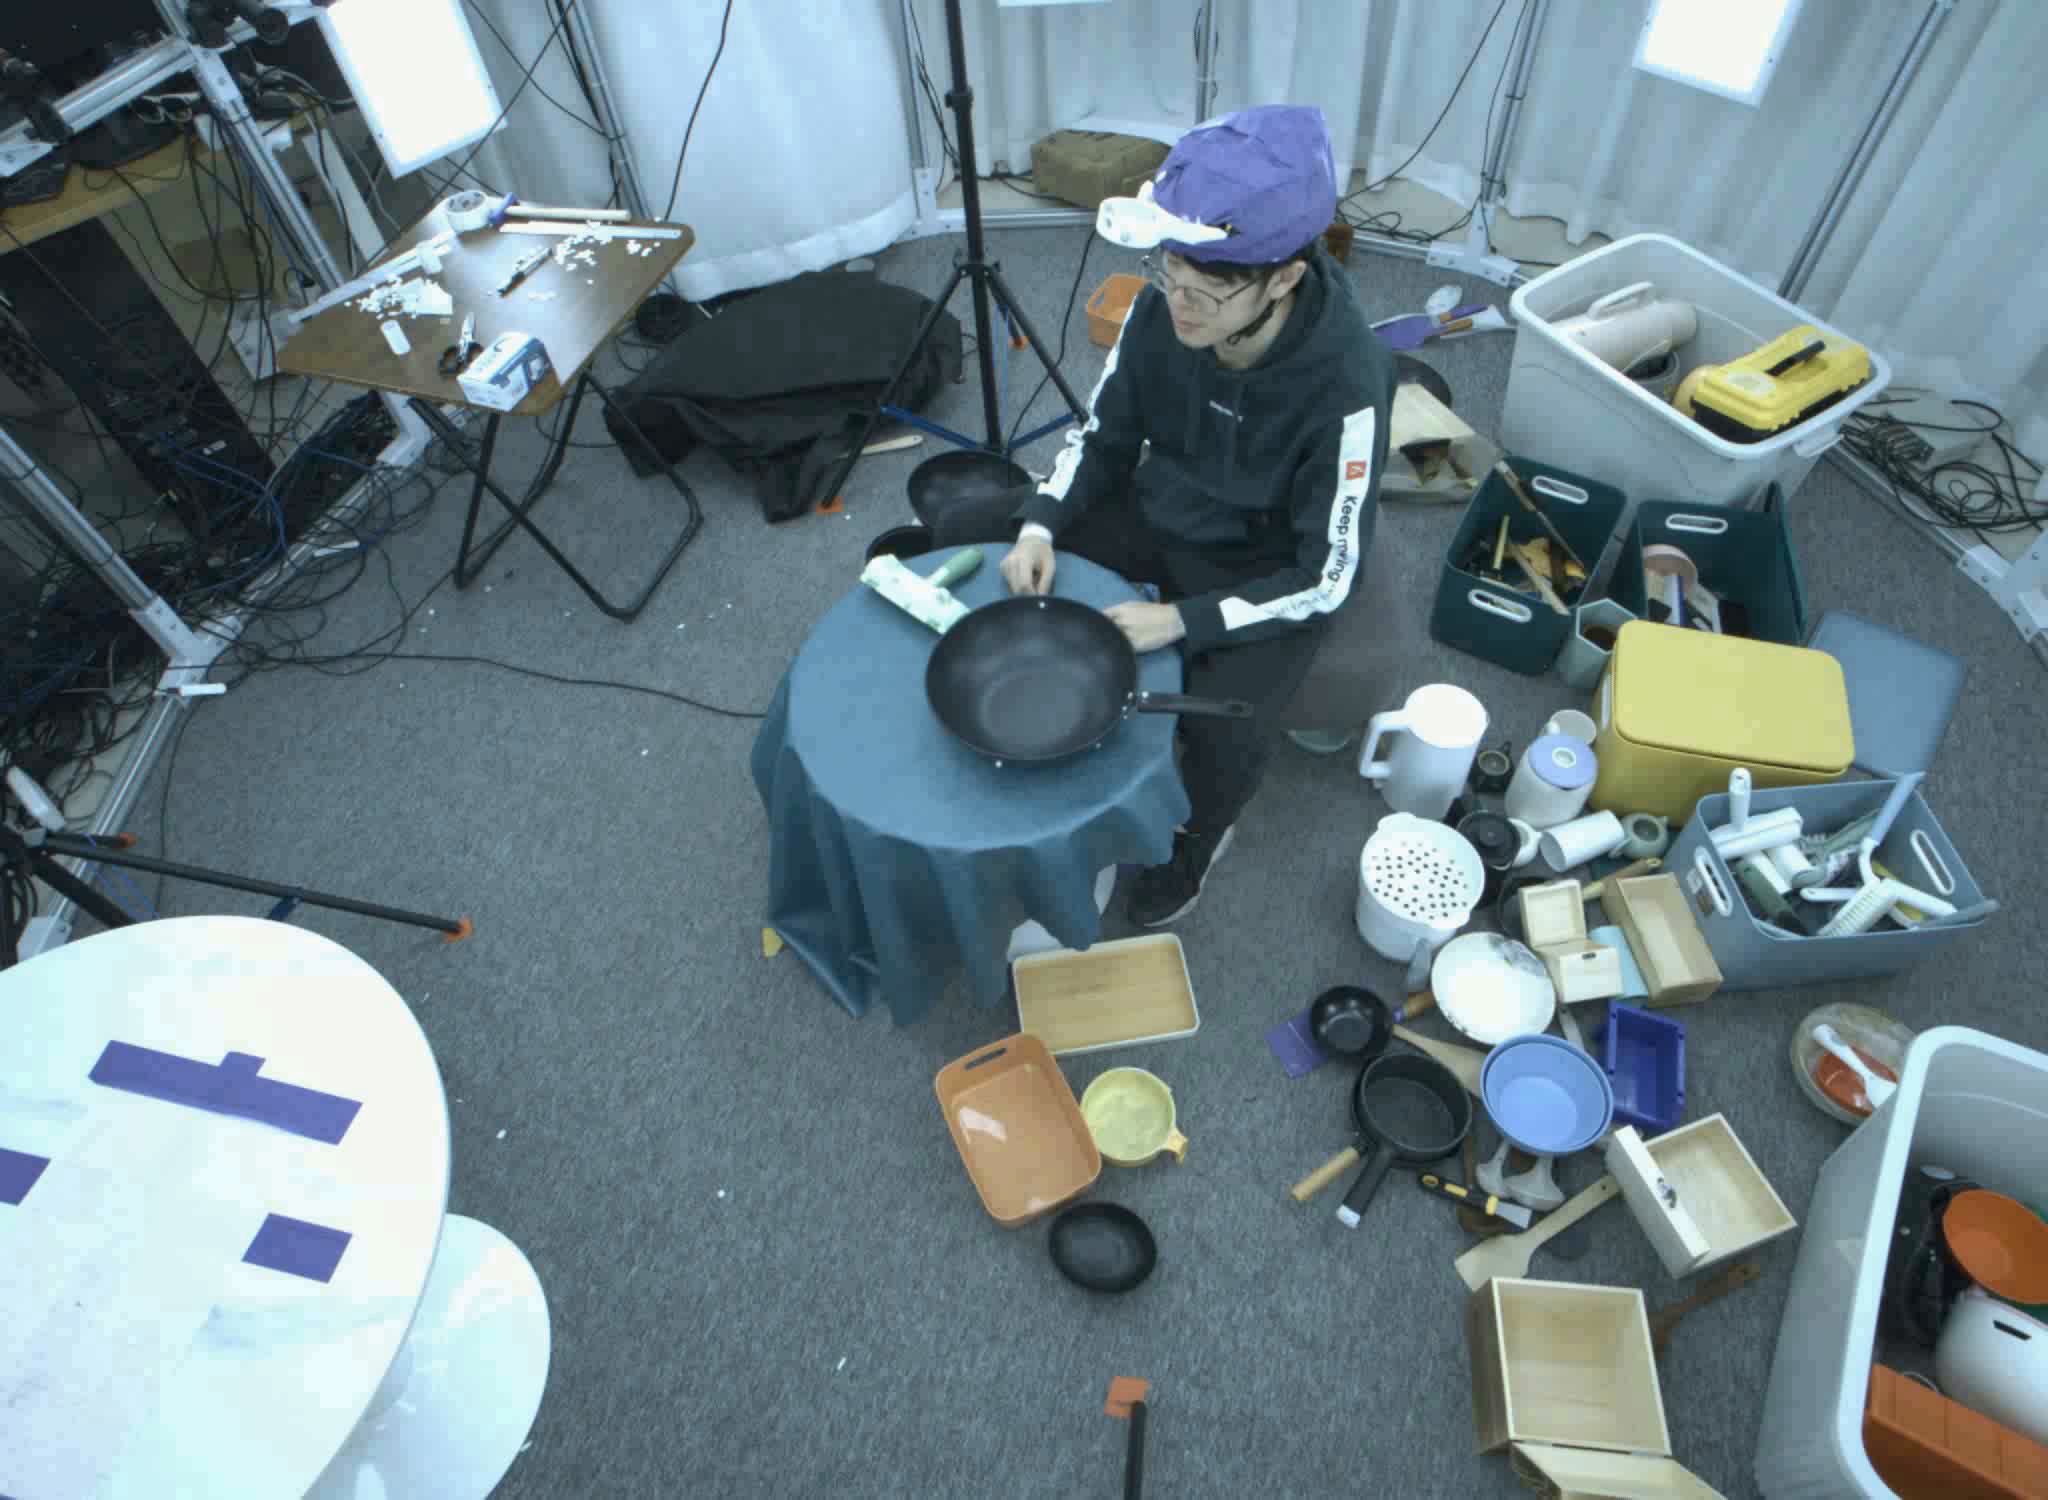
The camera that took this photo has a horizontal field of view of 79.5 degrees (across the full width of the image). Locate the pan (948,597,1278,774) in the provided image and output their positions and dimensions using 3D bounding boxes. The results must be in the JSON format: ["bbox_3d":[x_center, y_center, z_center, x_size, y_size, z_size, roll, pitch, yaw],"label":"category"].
[{"bbox_3d":[0.125,-0.066,1.760,0.472,0.113,0.310,15,58,13],"label":"pan"}]

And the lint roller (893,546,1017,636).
[{"bbox_3d":[-0.082,-0.284,1.940,0.195,0.083,0.184,37,69,25],"label":"lint roller"}]
